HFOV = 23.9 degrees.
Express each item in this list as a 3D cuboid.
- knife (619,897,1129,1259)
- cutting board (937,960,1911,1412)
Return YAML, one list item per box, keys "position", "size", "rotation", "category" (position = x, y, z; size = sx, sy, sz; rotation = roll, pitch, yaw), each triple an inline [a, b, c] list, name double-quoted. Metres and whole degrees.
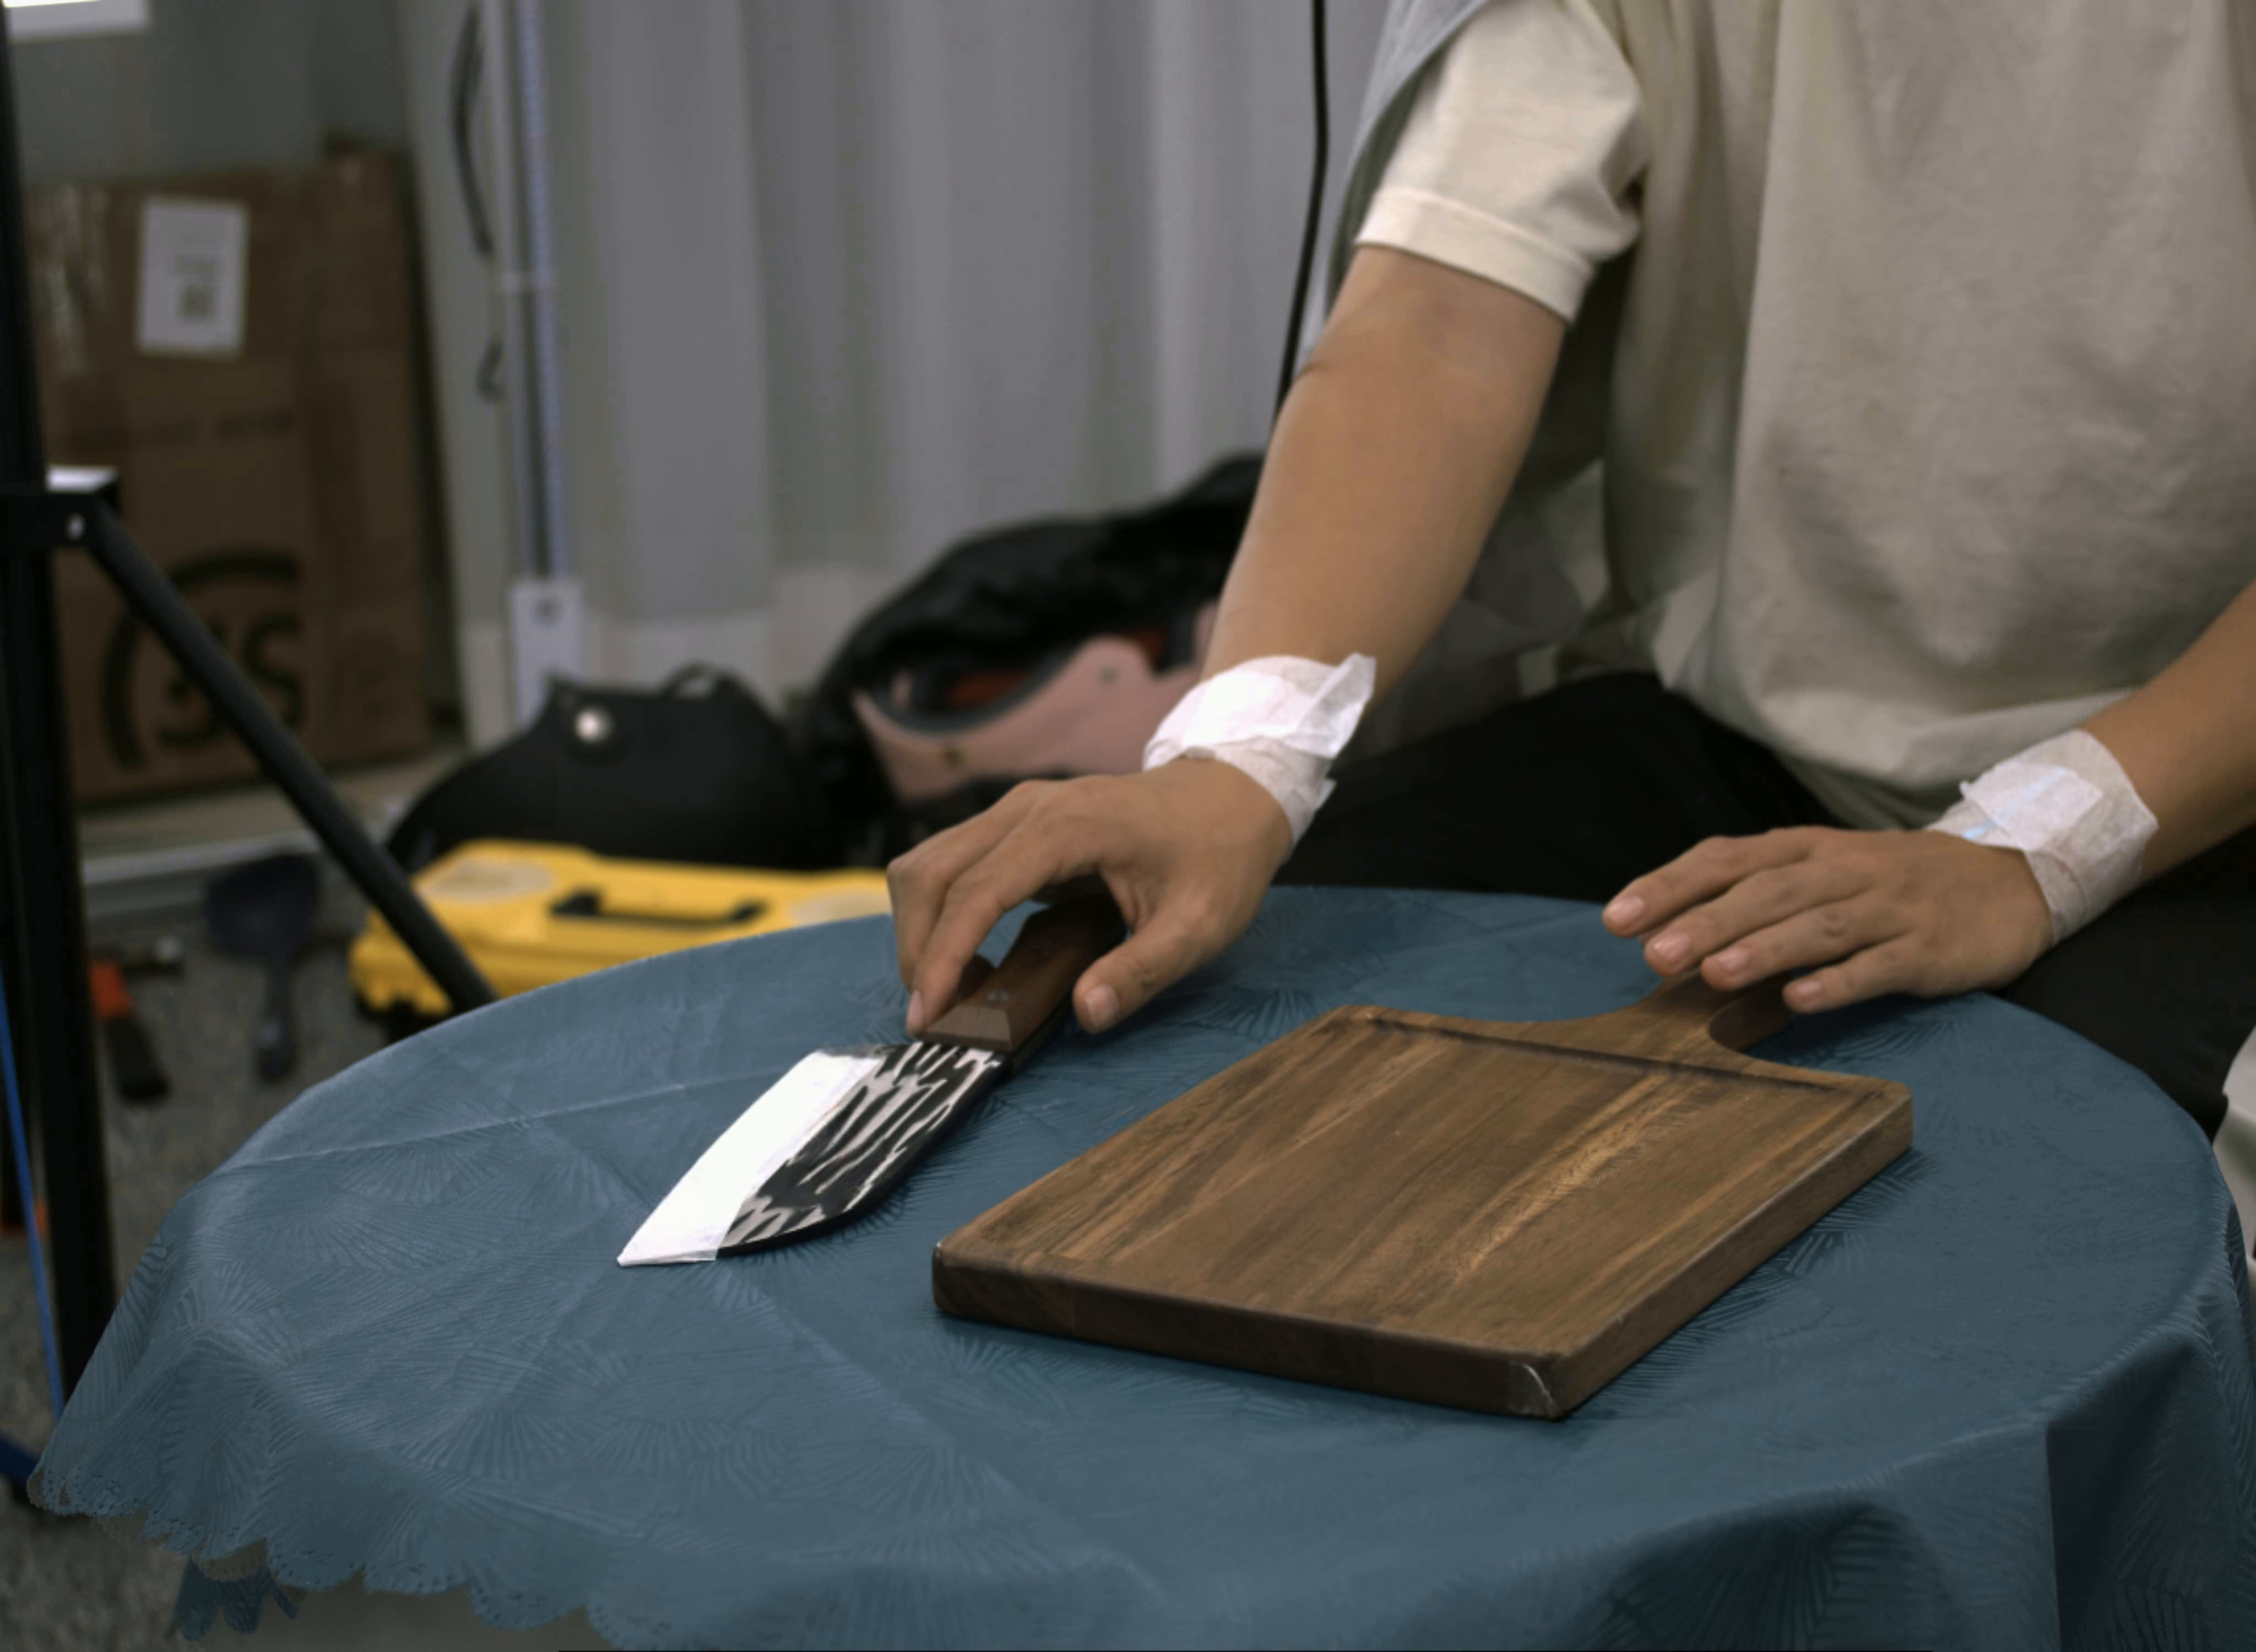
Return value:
- position: [-0.074, 0.078, 1.640]
  size: [0.069, 0.024, 0.296]
  rotation: [1, 19, 21]
  category: "knife"
- position: [0.114, 0.095, 1.554]
  size: [0.204, 0.023, 0.346]
  rotation: [5, 16, 30]
  category: "cutting board"
